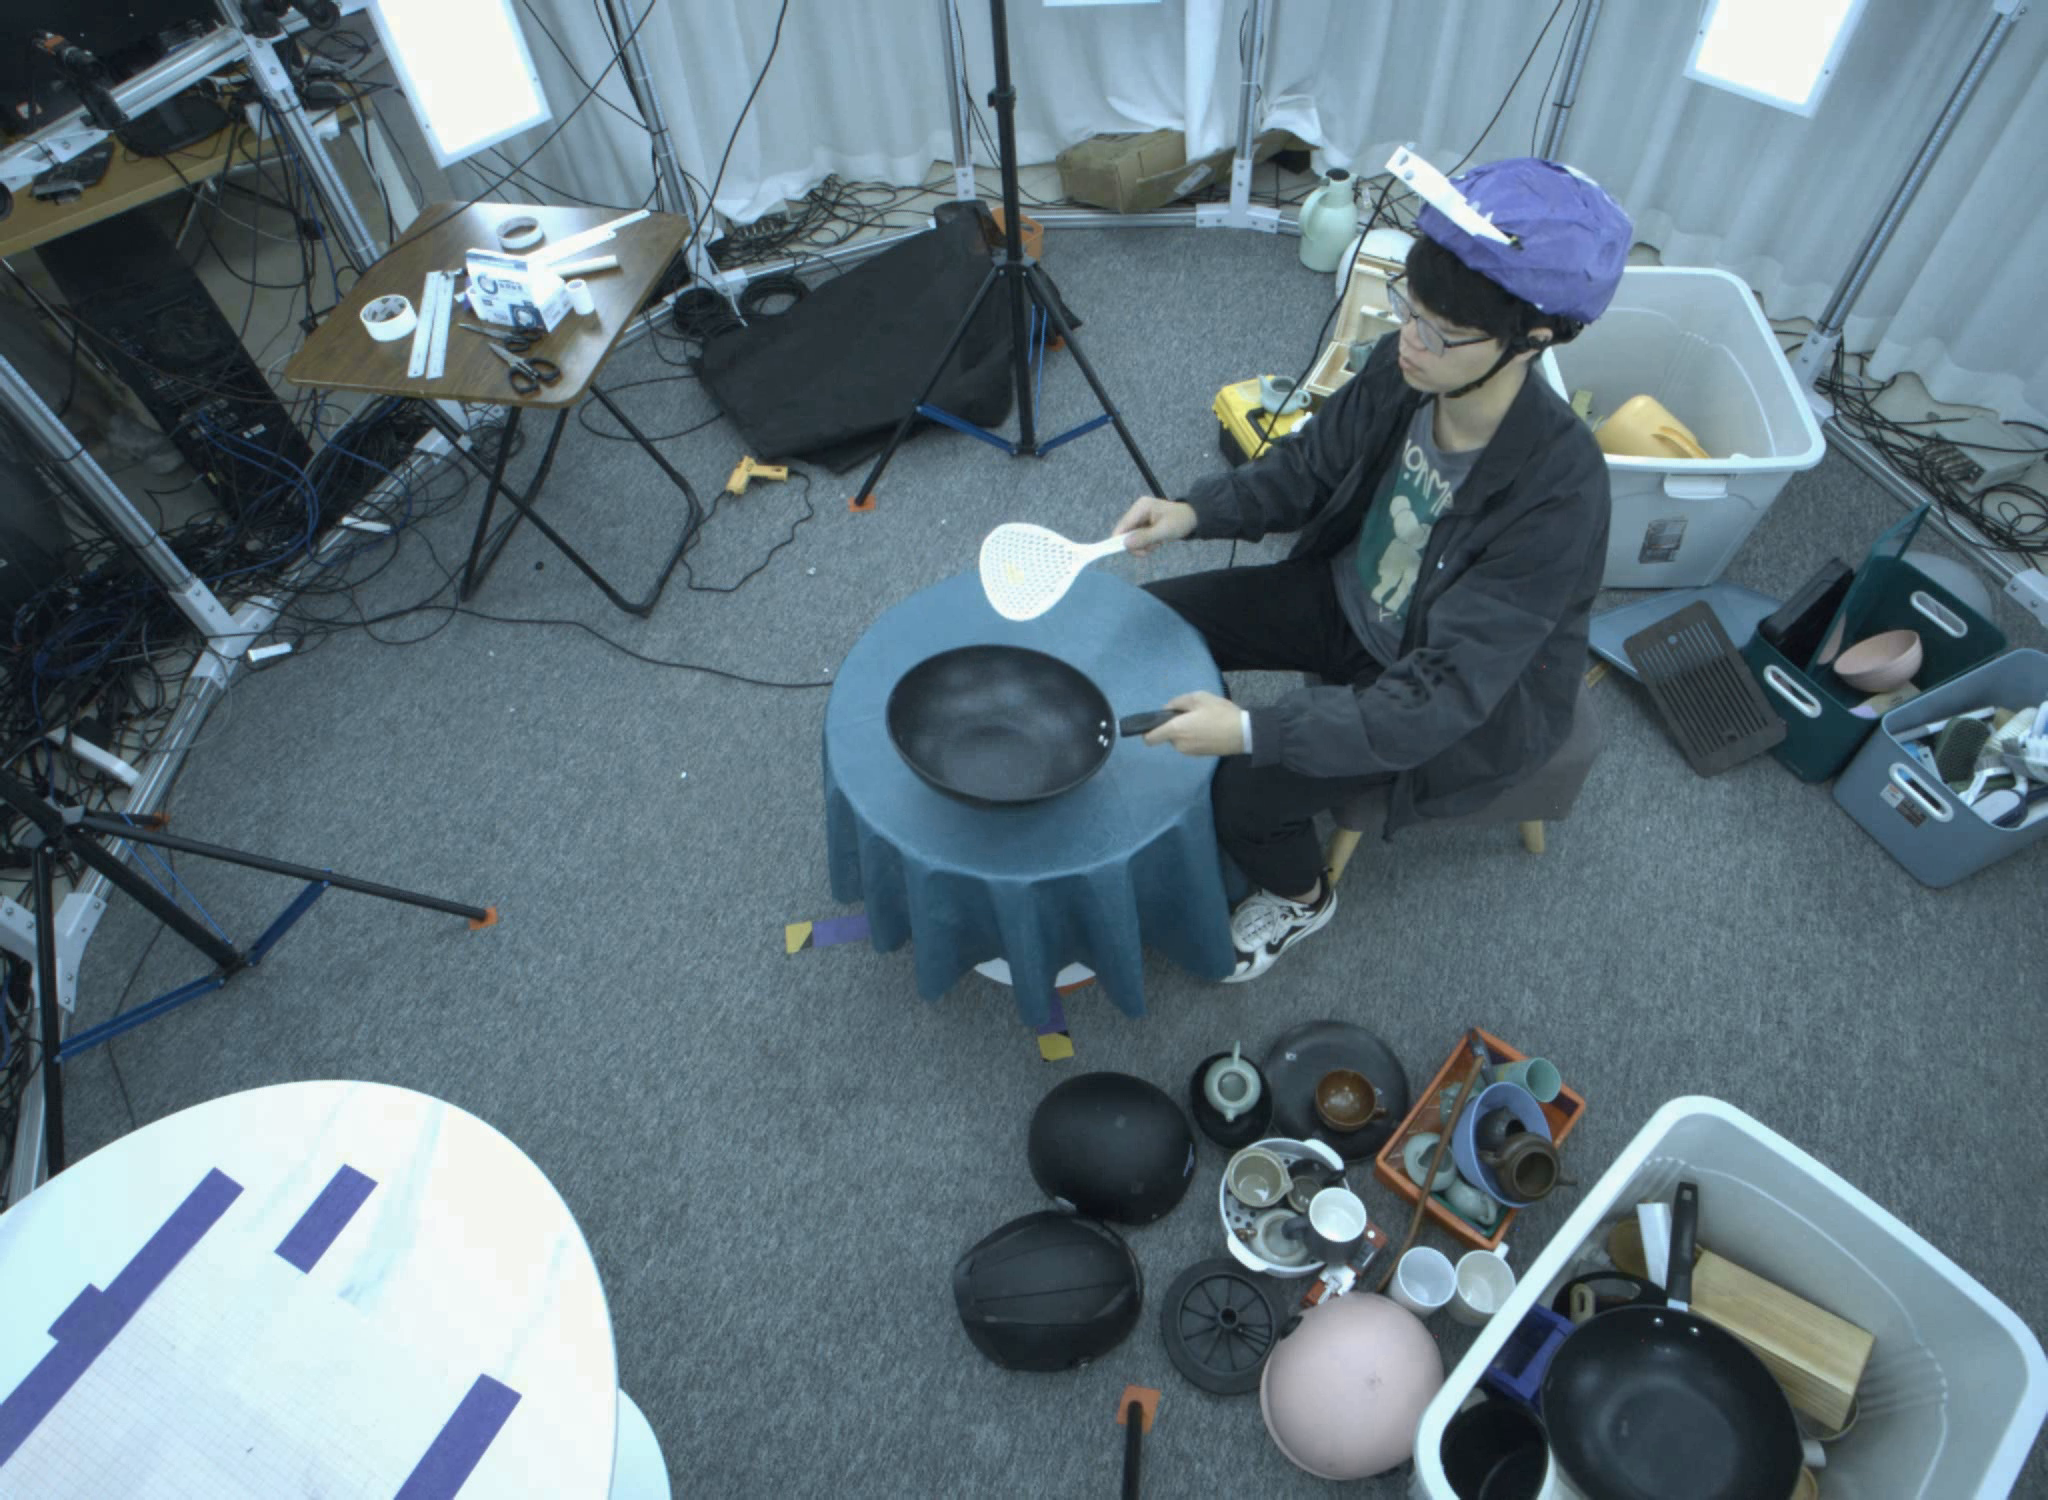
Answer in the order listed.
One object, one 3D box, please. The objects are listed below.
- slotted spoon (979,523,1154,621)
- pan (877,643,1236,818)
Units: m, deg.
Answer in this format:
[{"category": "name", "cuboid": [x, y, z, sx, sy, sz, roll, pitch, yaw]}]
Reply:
[{"category": "slotted spoon", "cuboid": [0.073, -0.277, 1.760, 0.353, 0.049, 0.137, -21, 97, -32]}, {"category": "pan", "cuboid": [0.042, -0.019, 1.660, 0.480, 0.112, 0.306, 2, 46, -7]}]
